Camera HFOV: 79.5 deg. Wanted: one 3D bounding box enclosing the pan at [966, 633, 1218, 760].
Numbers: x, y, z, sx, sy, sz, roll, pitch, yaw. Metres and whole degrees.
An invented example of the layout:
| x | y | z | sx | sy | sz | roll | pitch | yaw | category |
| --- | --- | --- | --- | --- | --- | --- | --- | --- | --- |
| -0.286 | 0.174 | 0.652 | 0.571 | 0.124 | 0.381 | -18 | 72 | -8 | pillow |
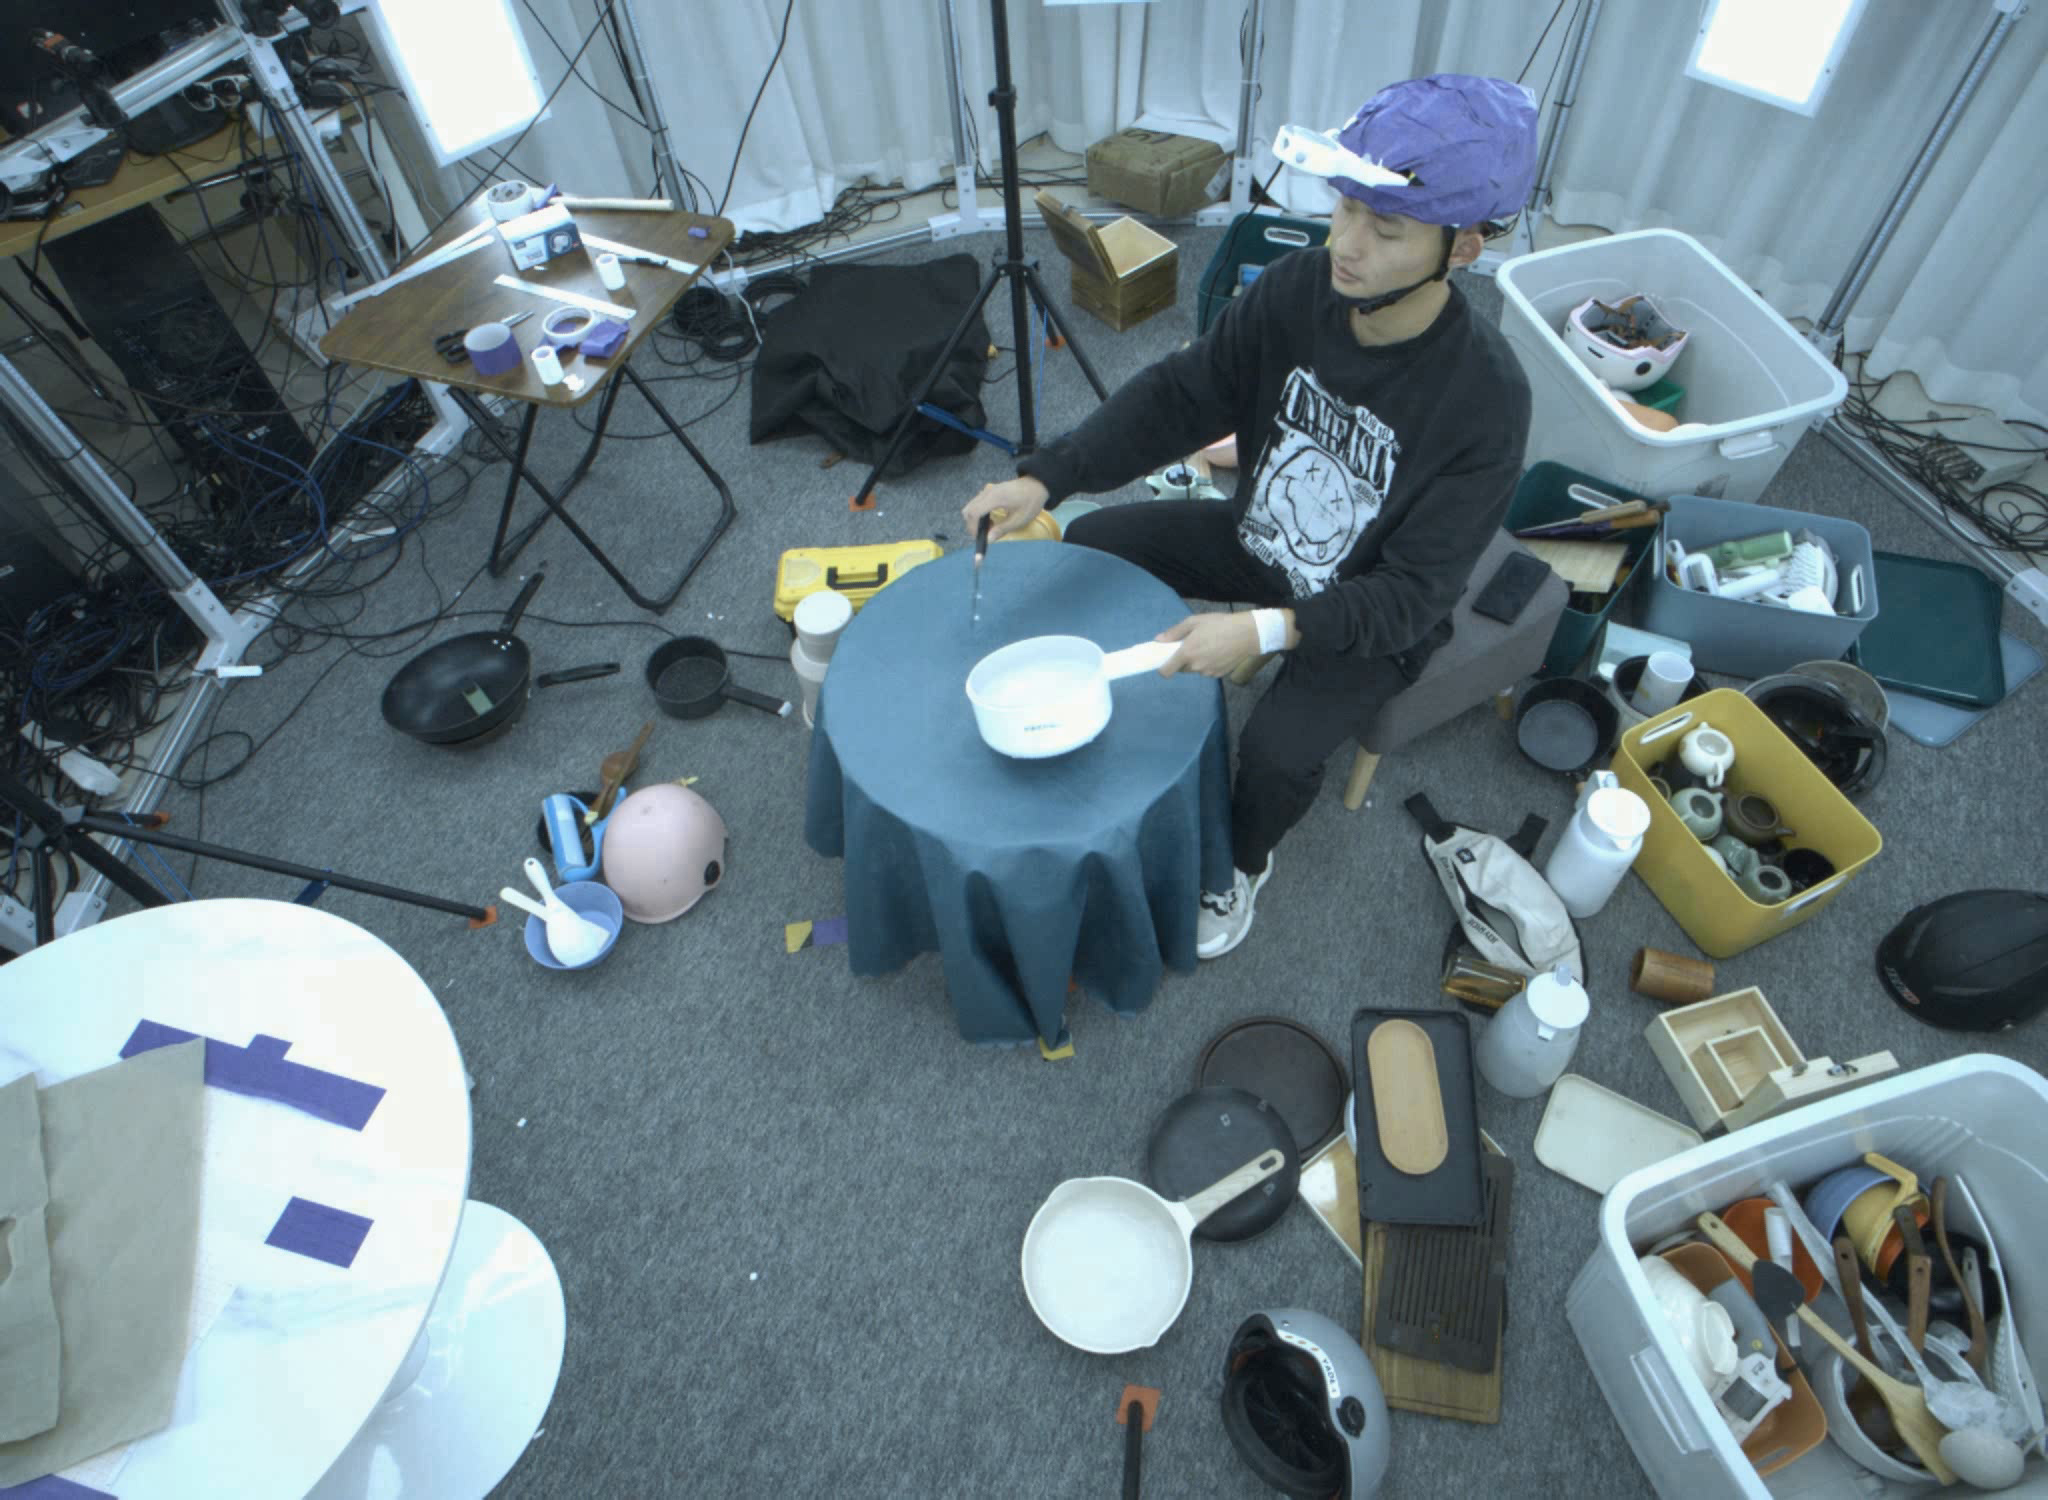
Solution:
| x | y | z | sx | sy | sz | roll | pitch | yaw | category |
| --- | --- | --- | --- | --- | --- | --- | --- | --- | --- |
| 0.101 | -0.084 | 1.745 | 0.355 | 0.103 | 0.198 | -12 | 31 | 0 | pan |

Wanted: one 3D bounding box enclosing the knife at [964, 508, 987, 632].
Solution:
| x | y | z | sx | sy | sz | roll | pitch | yaw | category |
| --- | --- | --- | --- | --- | --- | --- | --- | --- | --- |
| -0.072 | -0.263 | 1.767 | 0.017 | 0.026 | 0.223 | 10 | 58 | -7 | knife |
